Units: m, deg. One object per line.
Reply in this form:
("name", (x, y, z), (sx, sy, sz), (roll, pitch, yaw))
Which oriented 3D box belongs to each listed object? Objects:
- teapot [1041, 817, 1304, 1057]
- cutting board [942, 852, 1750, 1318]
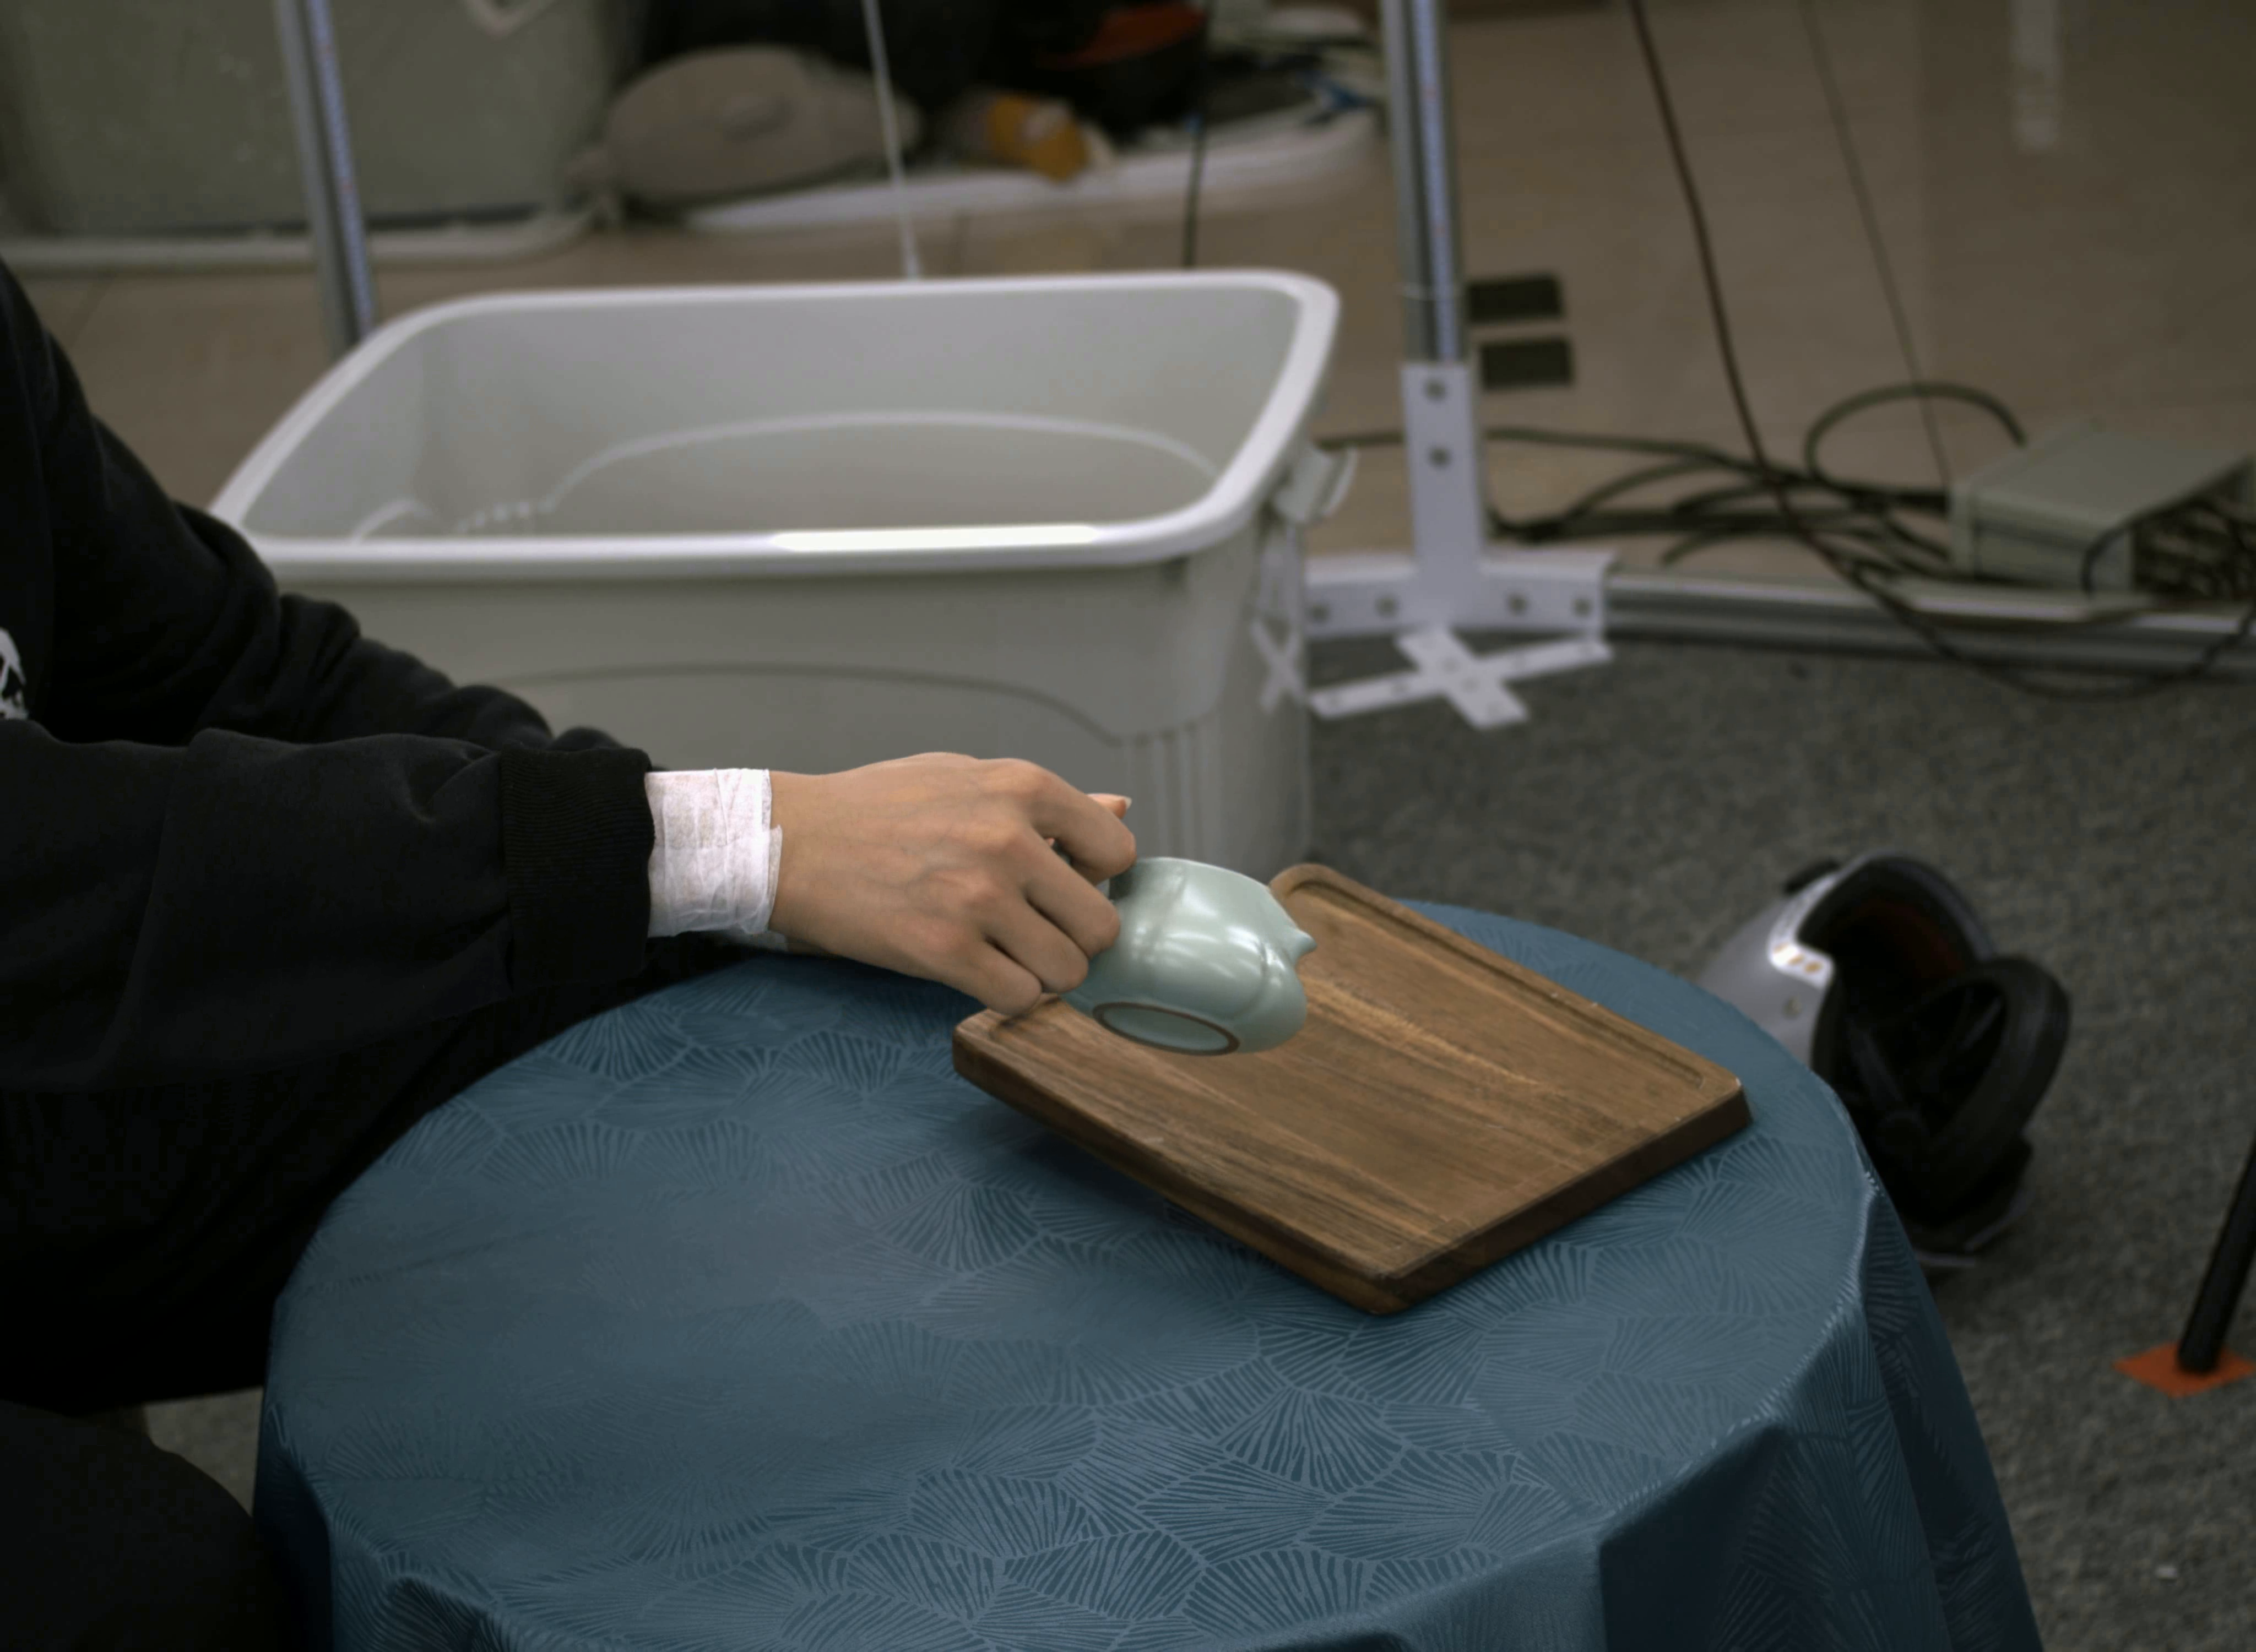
("teapot", (0.016, 0.045, 2.050), (0.096, 0.138, 0.061), (0, 68, 42))
("cutting board", (0.050, 0.079, 2.202), (0.199, 0.023, 0.348), (-25, 36, -35))
